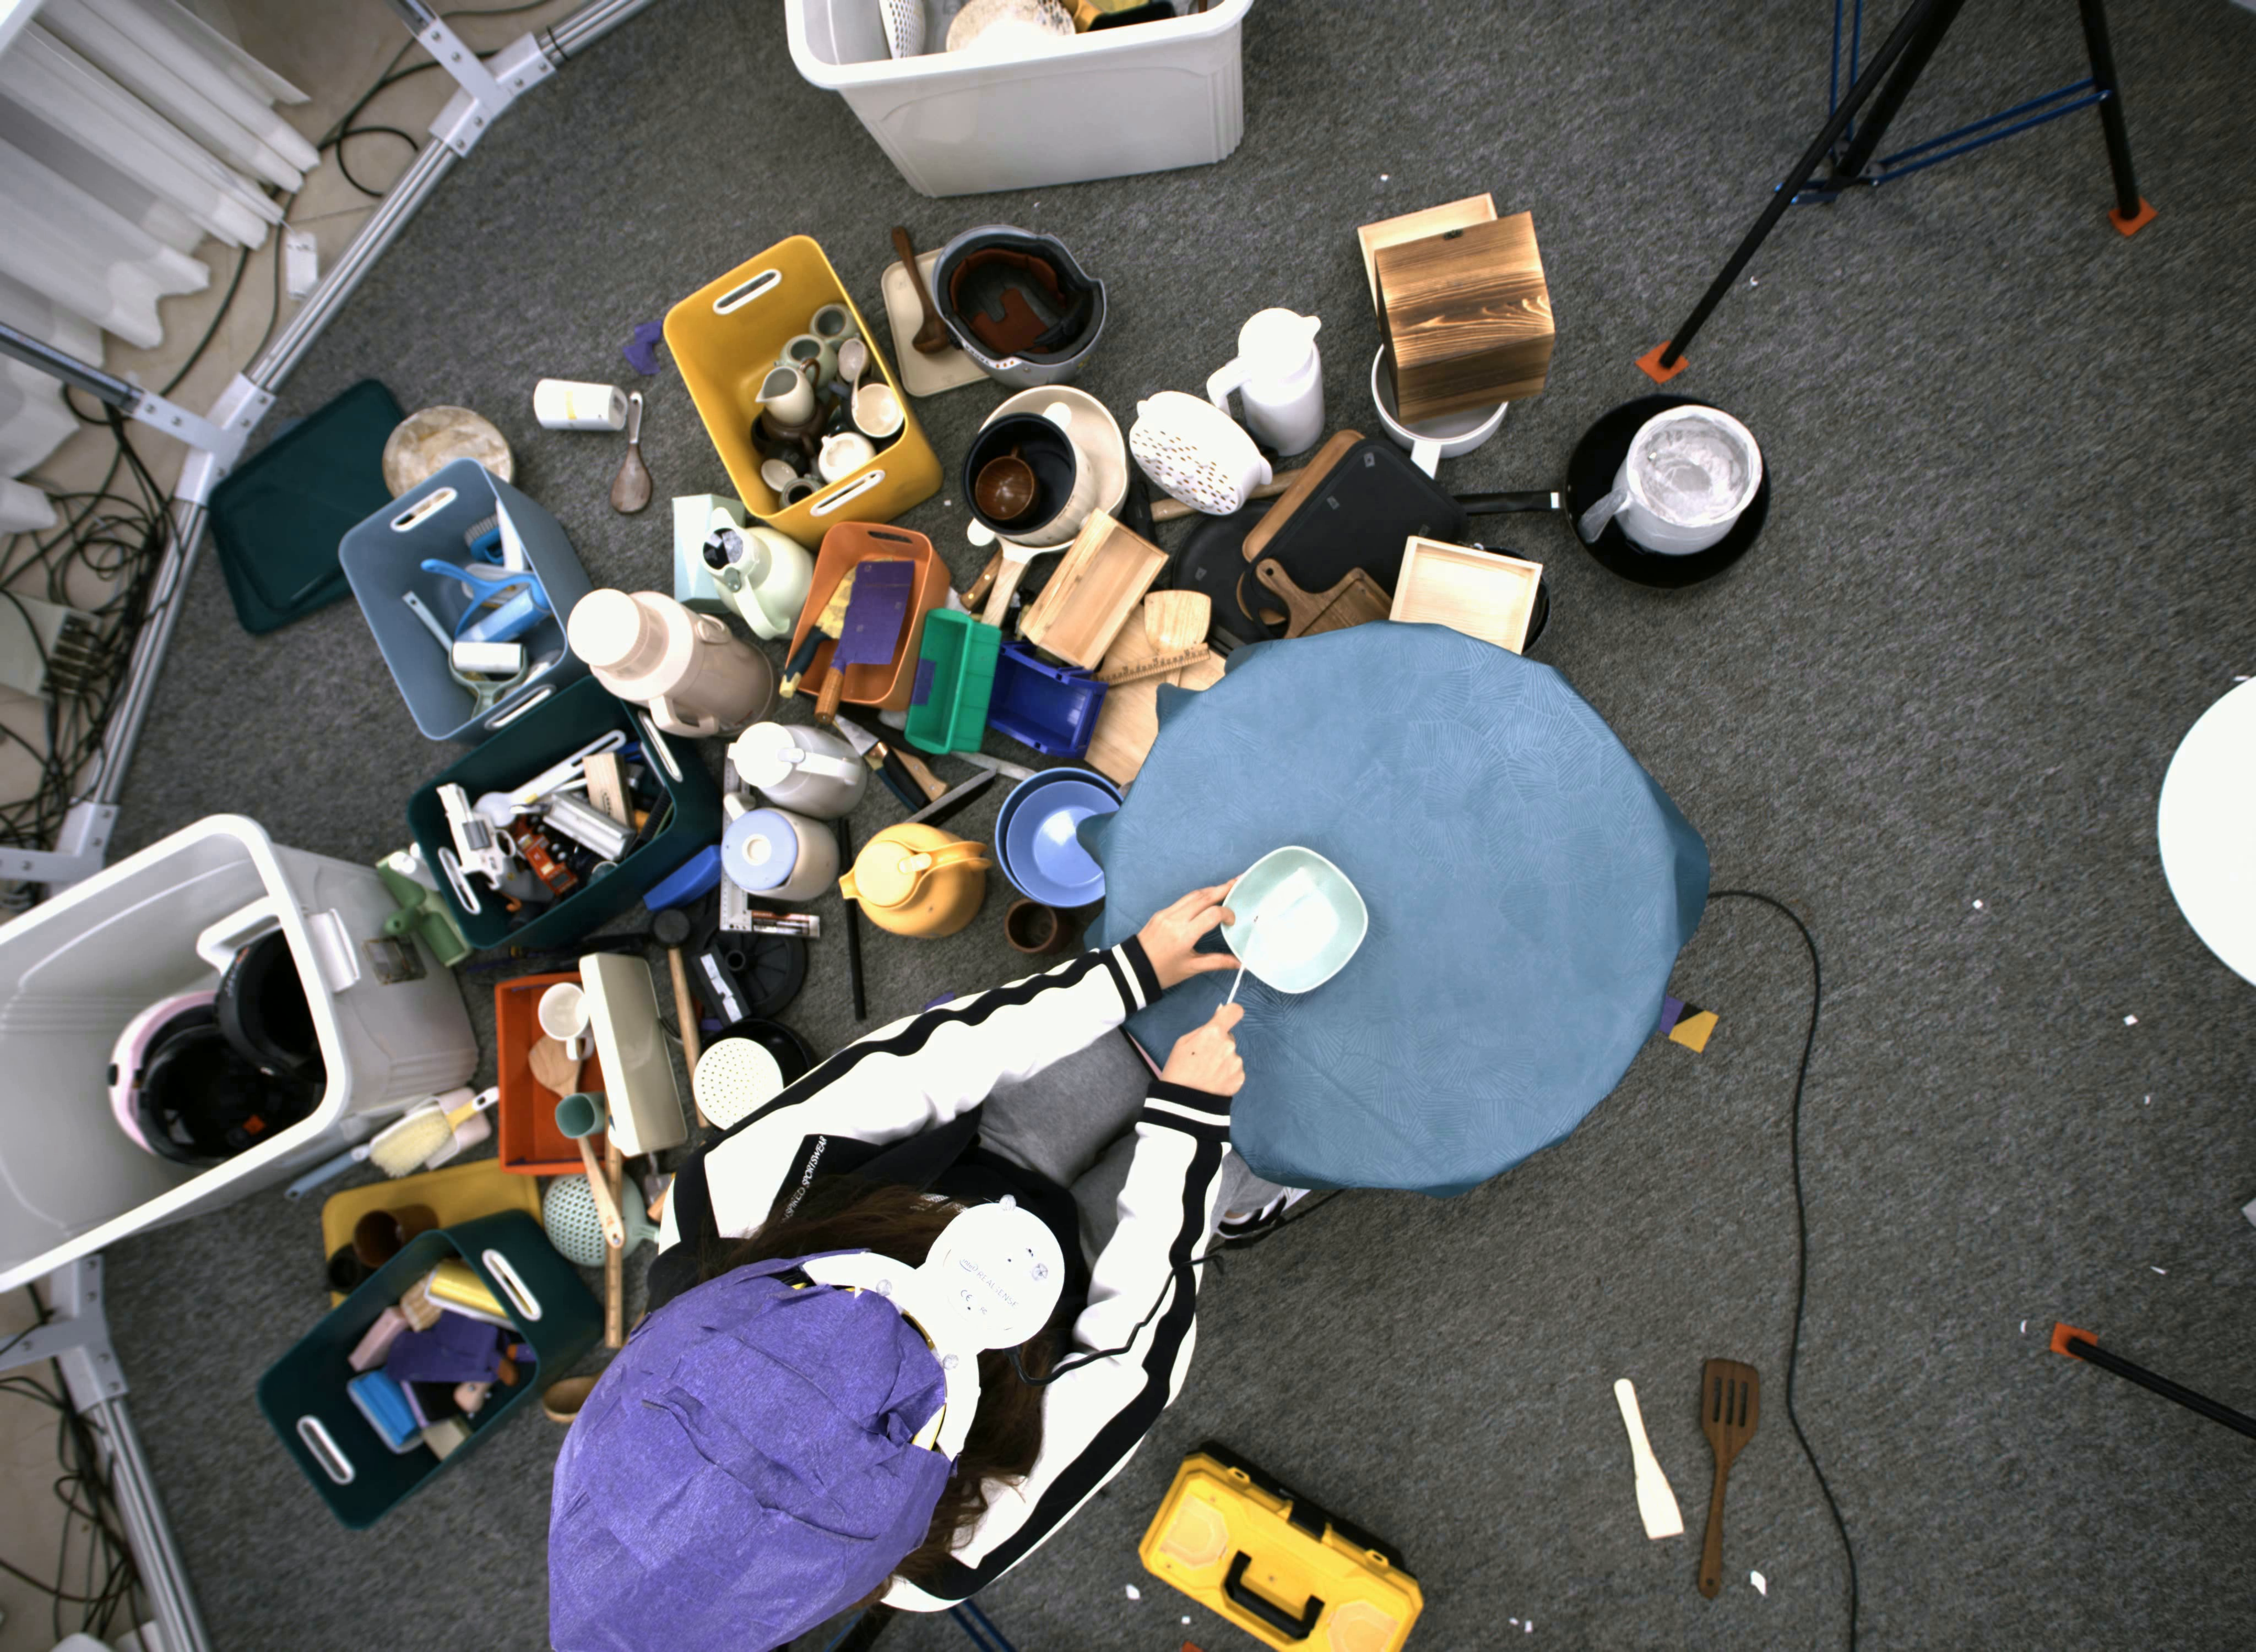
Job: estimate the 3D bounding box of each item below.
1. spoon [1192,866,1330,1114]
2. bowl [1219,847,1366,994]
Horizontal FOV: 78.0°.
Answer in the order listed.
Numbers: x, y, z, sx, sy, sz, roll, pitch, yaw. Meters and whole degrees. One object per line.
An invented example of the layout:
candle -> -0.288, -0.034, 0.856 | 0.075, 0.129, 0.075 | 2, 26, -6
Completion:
spoon -> 0.134, 0.161, 1.384 | 0.059, 0.102, 0.274 | 17, 79, 12
bowl -> 0.173, 0.099, 1.451 | 0.152, 0.059, 0.150 | -1, 86, 11
